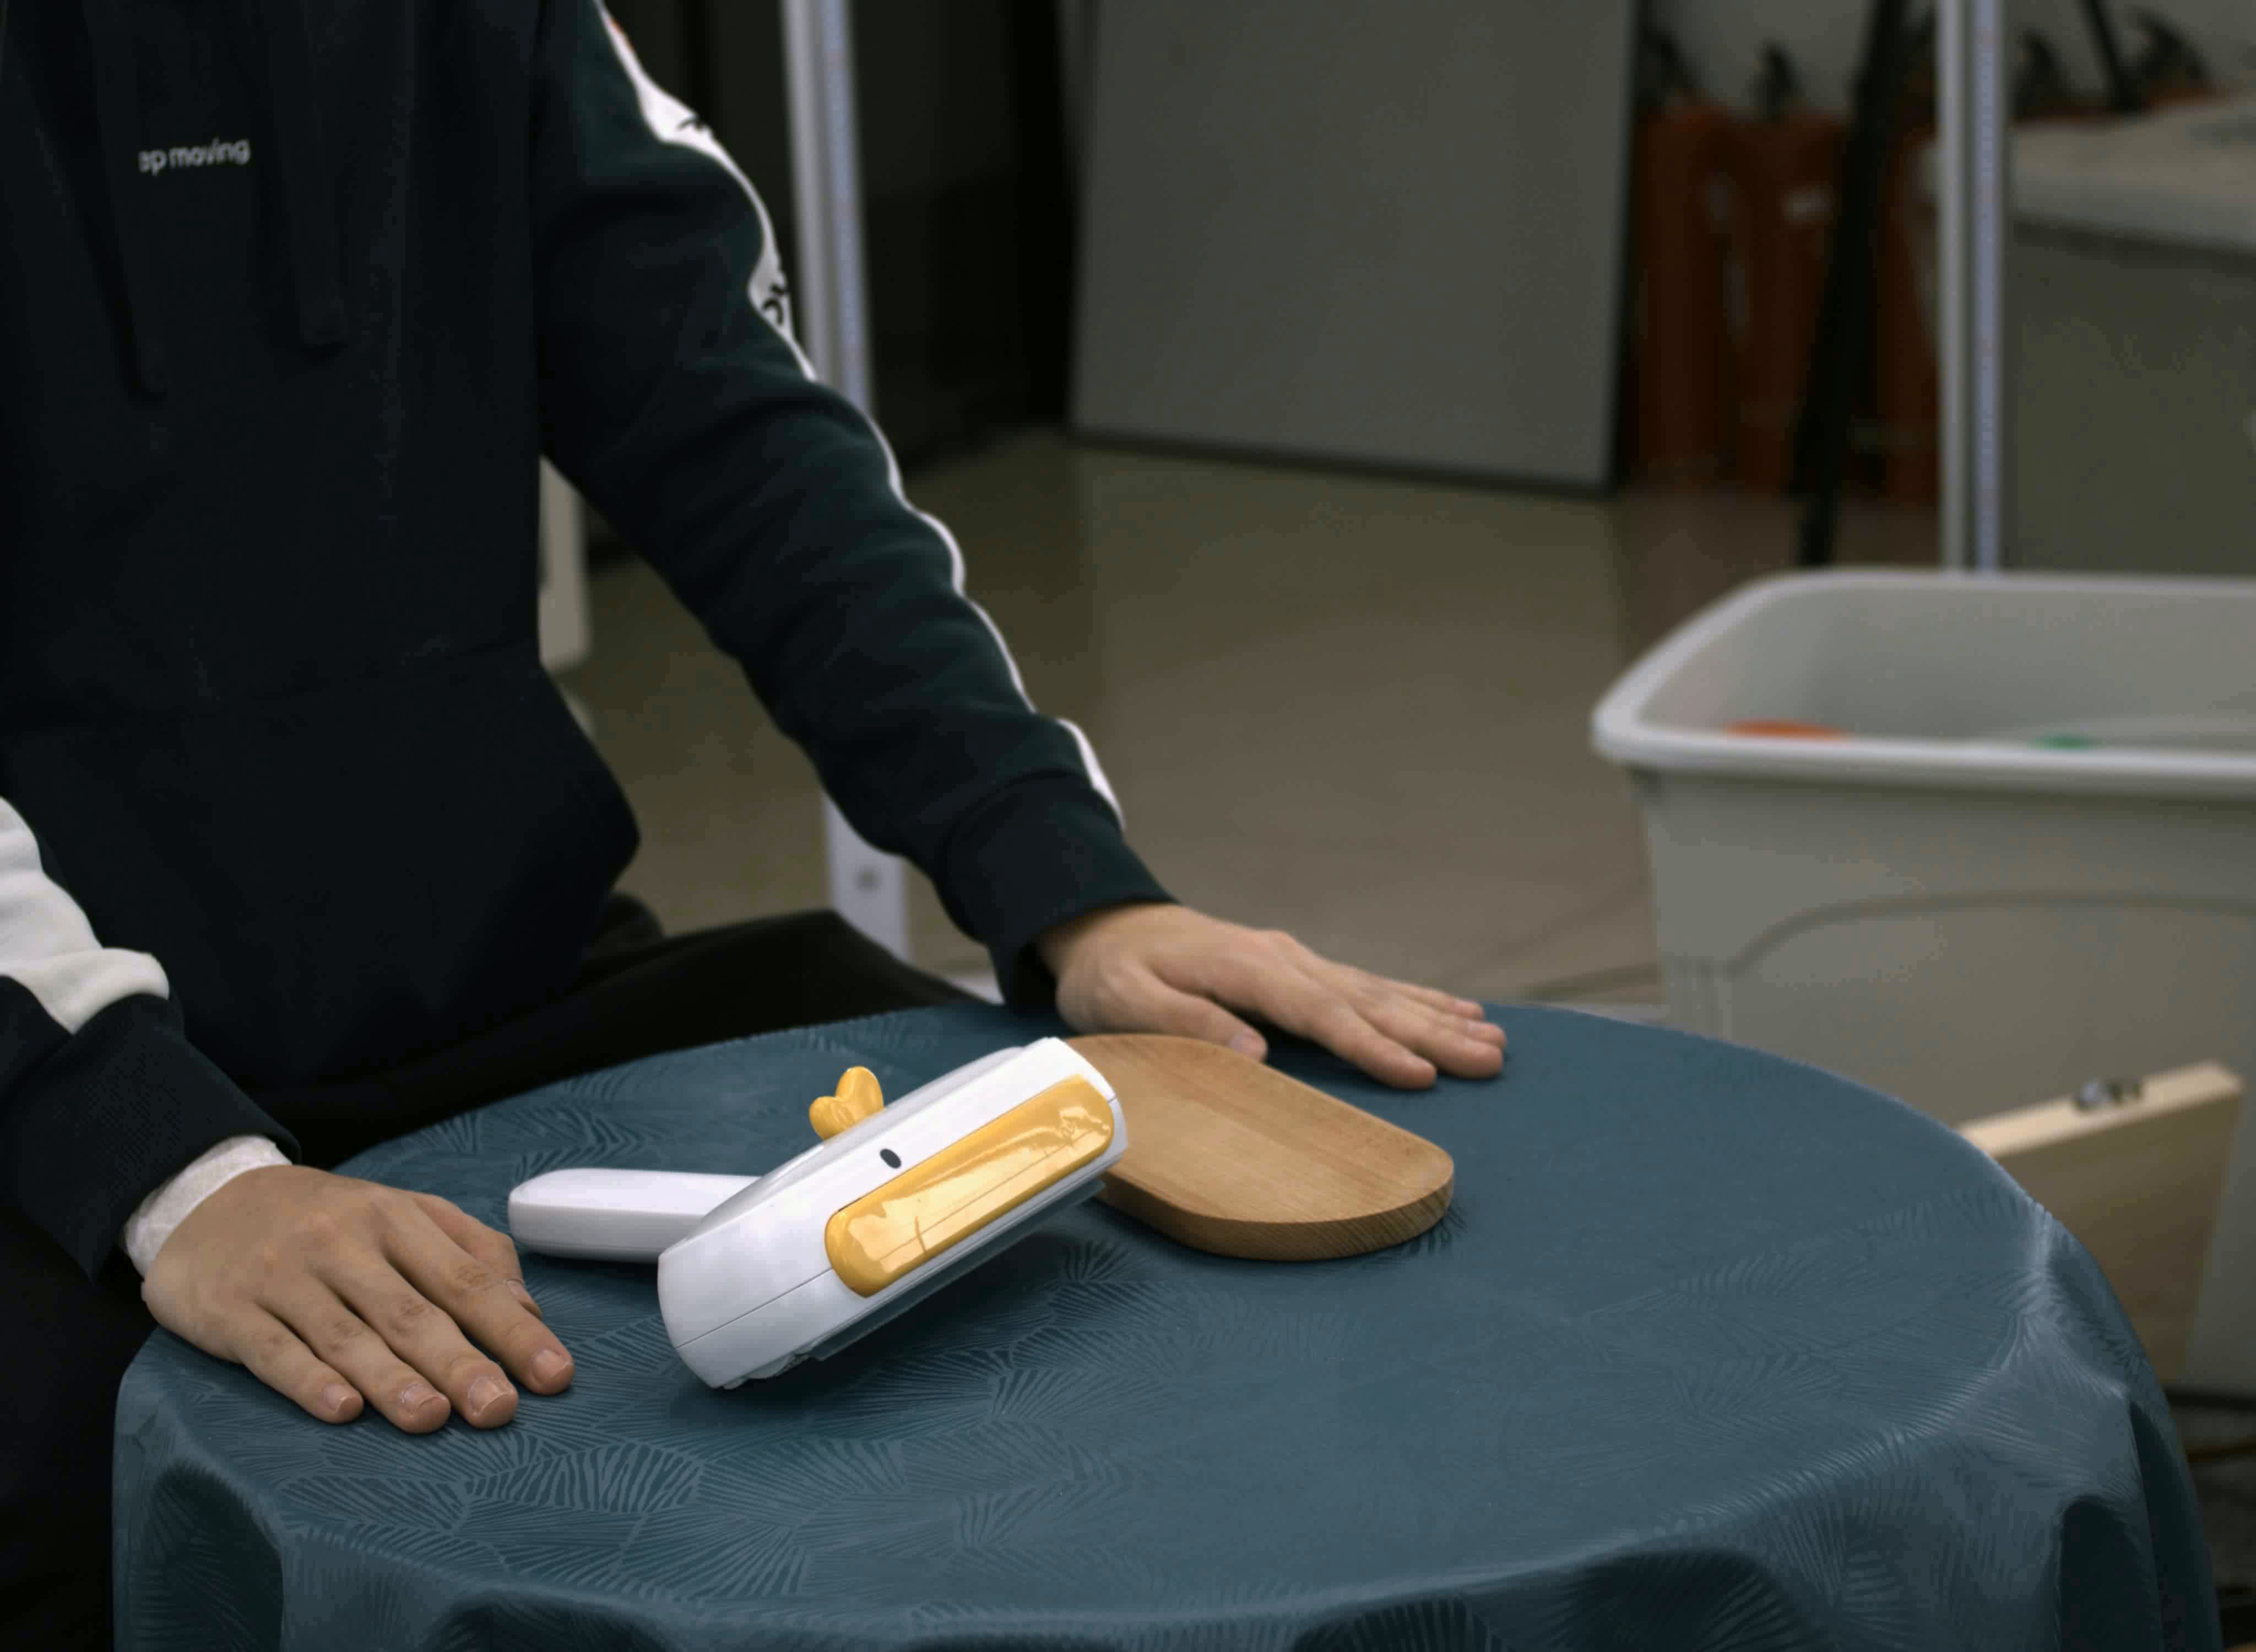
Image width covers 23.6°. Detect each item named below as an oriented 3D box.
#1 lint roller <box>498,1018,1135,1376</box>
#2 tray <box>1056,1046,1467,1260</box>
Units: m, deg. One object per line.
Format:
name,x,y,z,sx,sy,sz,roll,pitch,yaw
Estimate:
lint roller,-0.115,0.123,1.698,0.193,0.074,0.190,-18,10,35
tray,0.027,0.107,1.787,0.099,0.020,0.233,-12,17,-27
